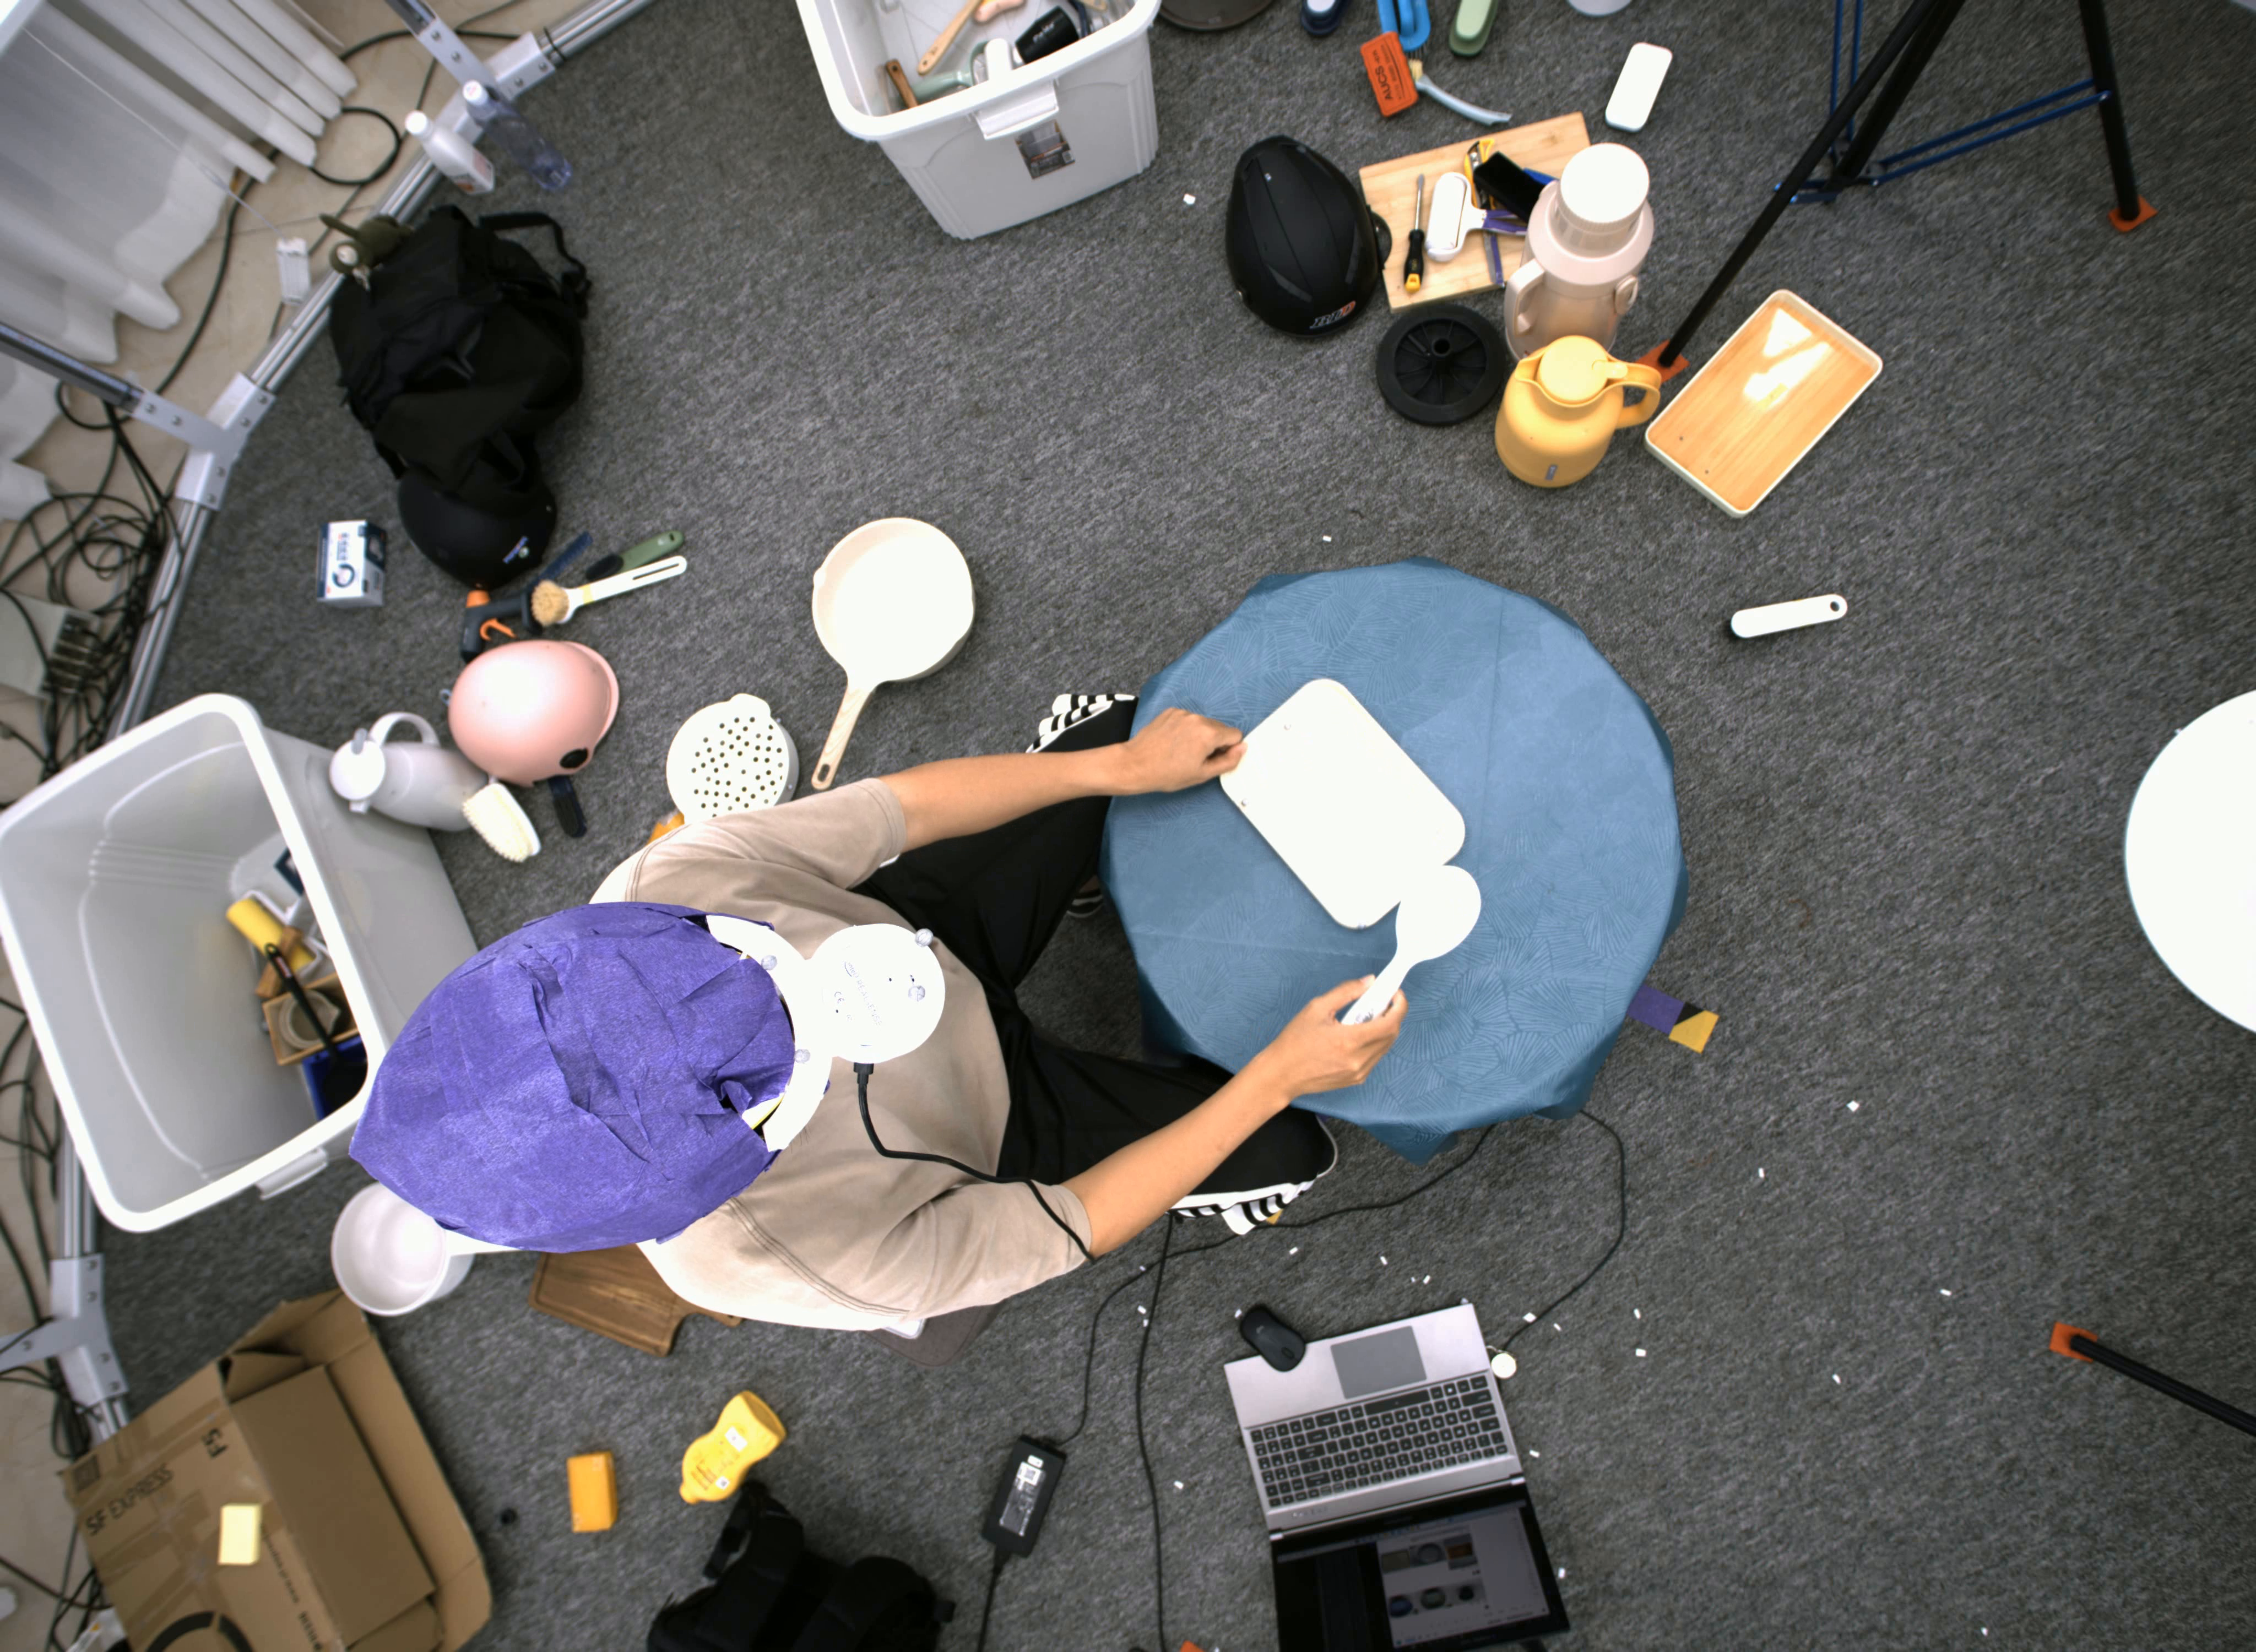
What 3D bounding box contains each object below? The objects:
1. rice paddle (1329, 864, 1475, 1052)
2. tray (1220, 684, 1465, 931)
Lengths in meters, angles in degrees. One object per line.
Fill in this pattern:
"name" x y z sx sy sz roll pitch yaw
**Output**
"rice paddle" 0.262 0.125 1.328 0.068 0.029 0.207 35 101 11
"tray" 0.226 -0.022 1.466 0.172 0.017 0.238 -40 80 5
